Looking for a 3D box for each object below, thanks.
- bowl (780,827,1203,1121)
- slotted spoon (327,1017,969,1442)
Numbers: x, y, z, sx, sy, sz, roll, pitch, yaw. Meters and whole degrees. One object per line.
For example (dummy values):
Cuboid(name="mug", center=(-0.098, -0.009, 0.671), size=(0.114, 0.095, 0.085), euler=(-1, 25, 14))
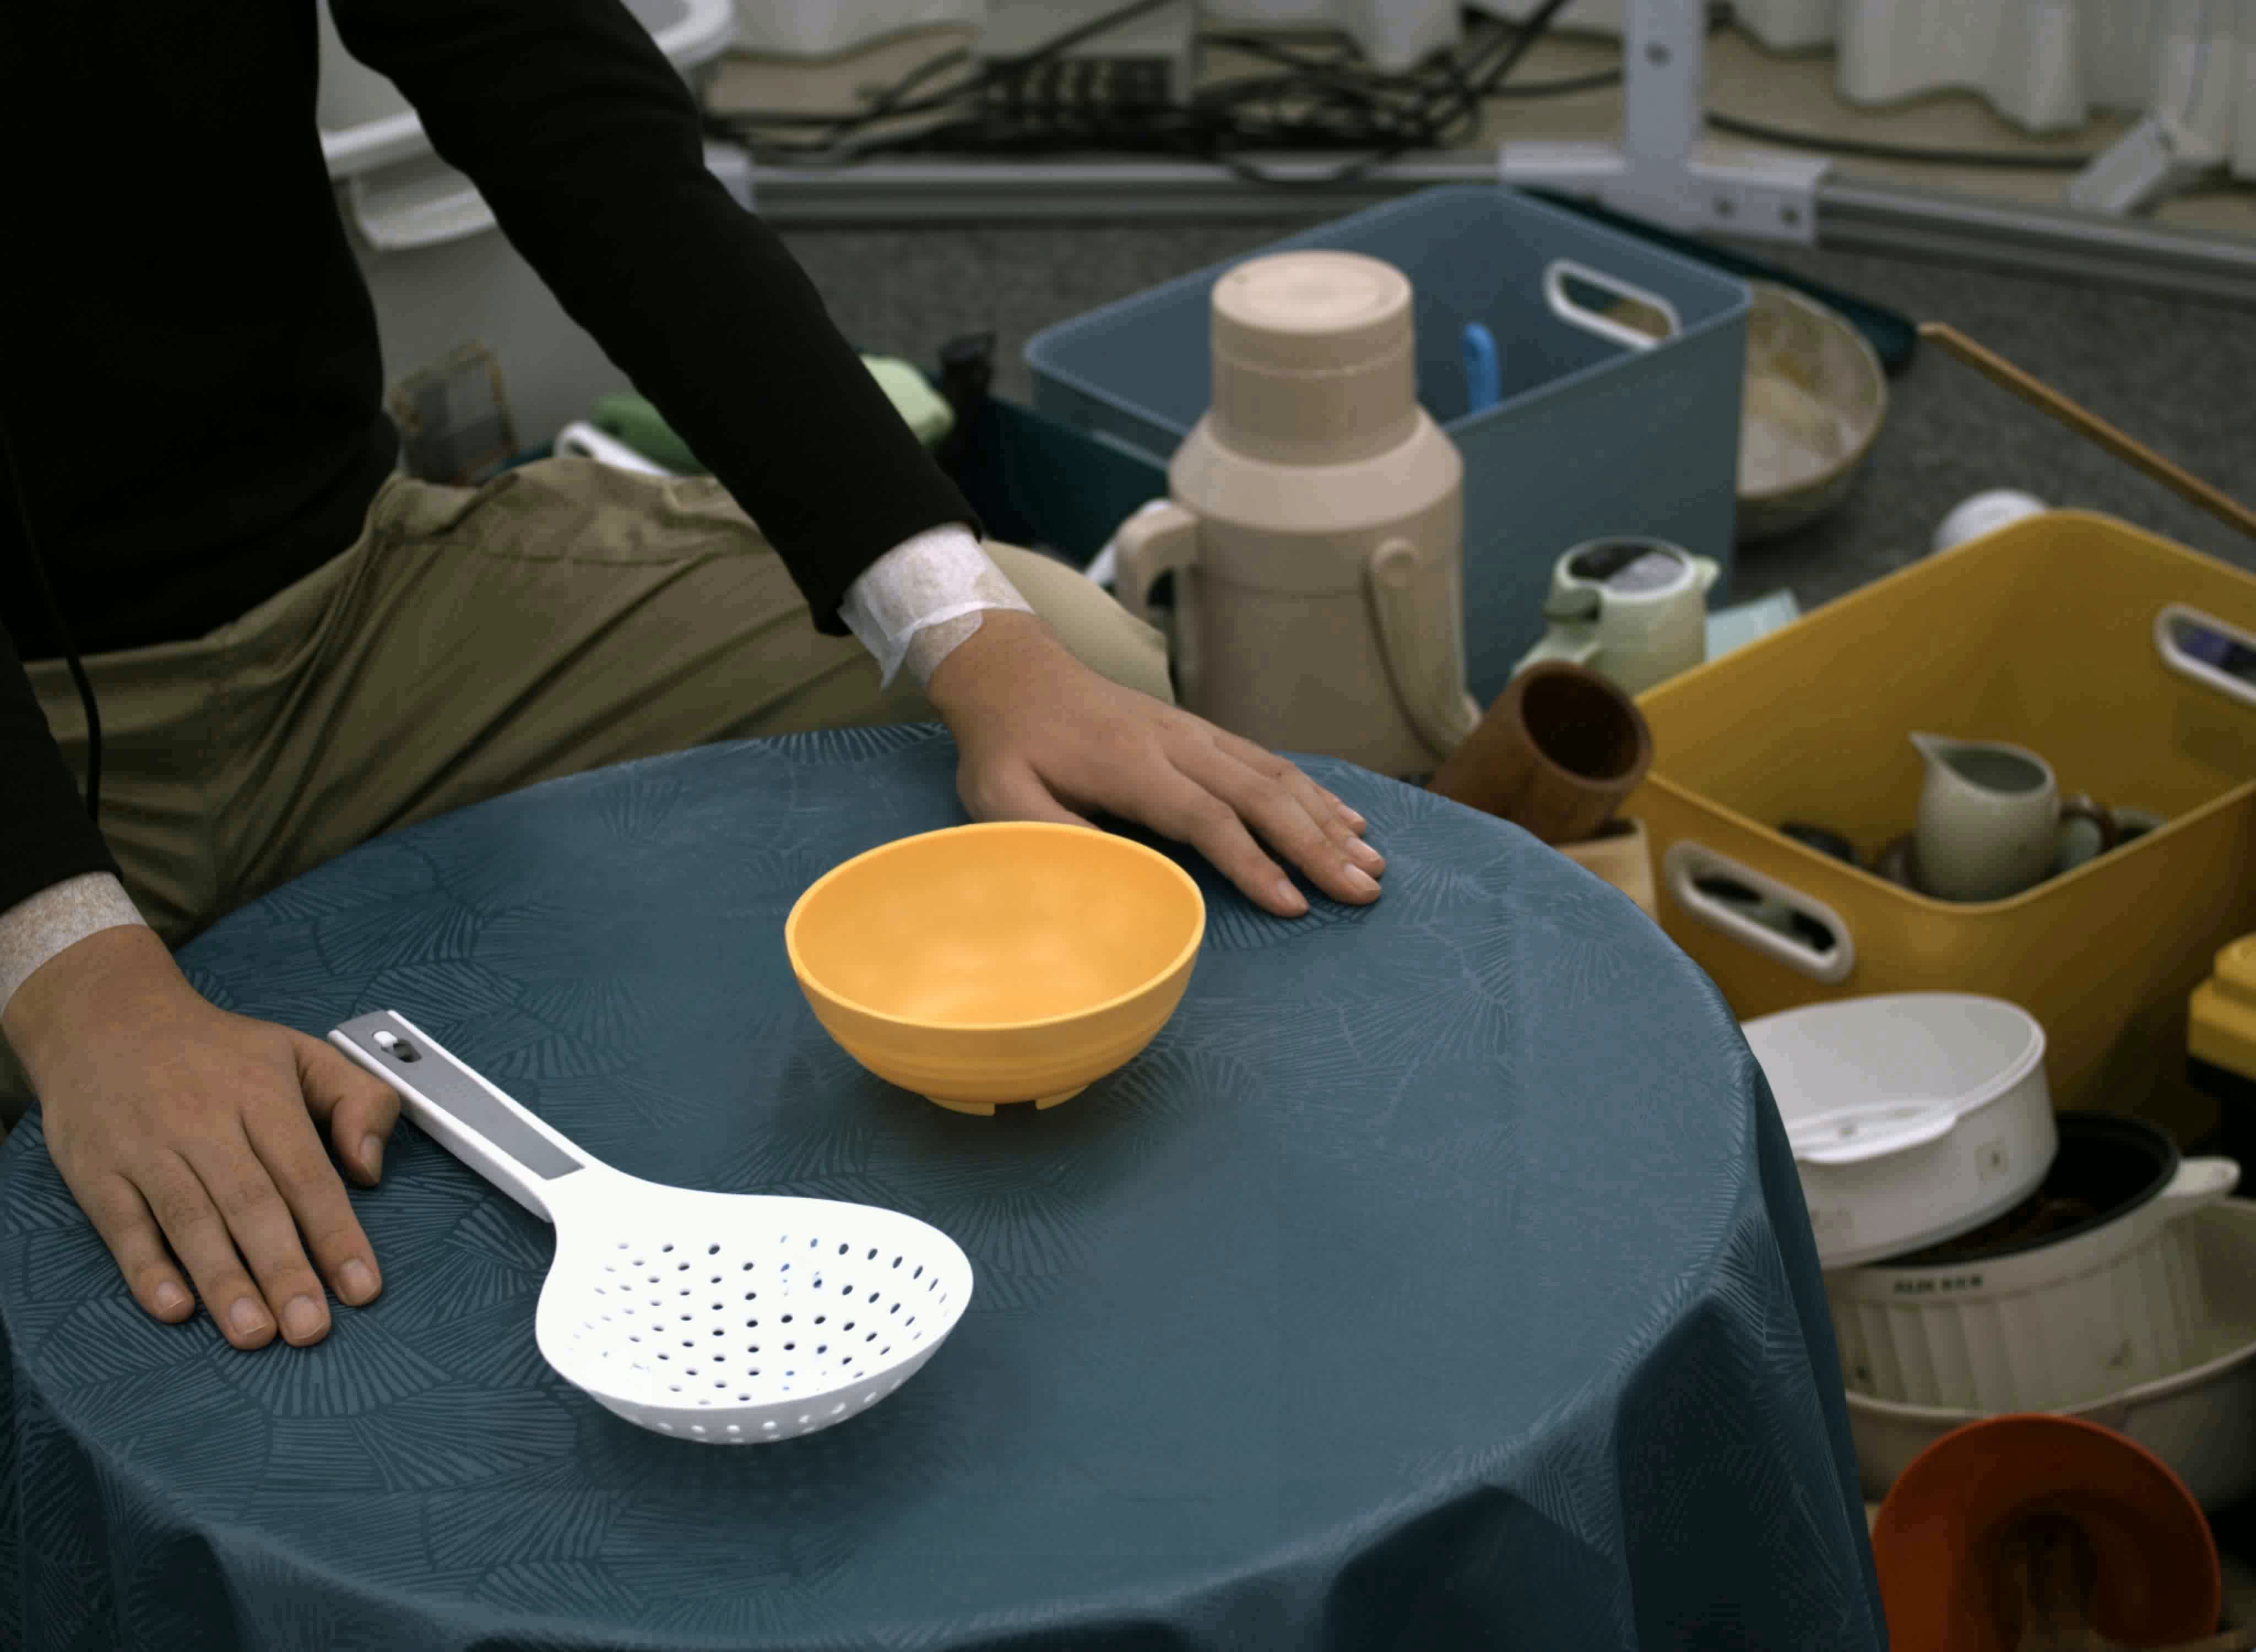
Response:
Cuboid(name="bowl", center=(-0.046, 0.059, 1.926), size=(0.144, 0.059, 0.147), euler=(-1, 27, 1))
Cuboid(name="slotted spoon", center=(-0.175, 0.124, 1.825), size=(0.137, 0.045, 0.350), euler=(-19, 30, -29))
